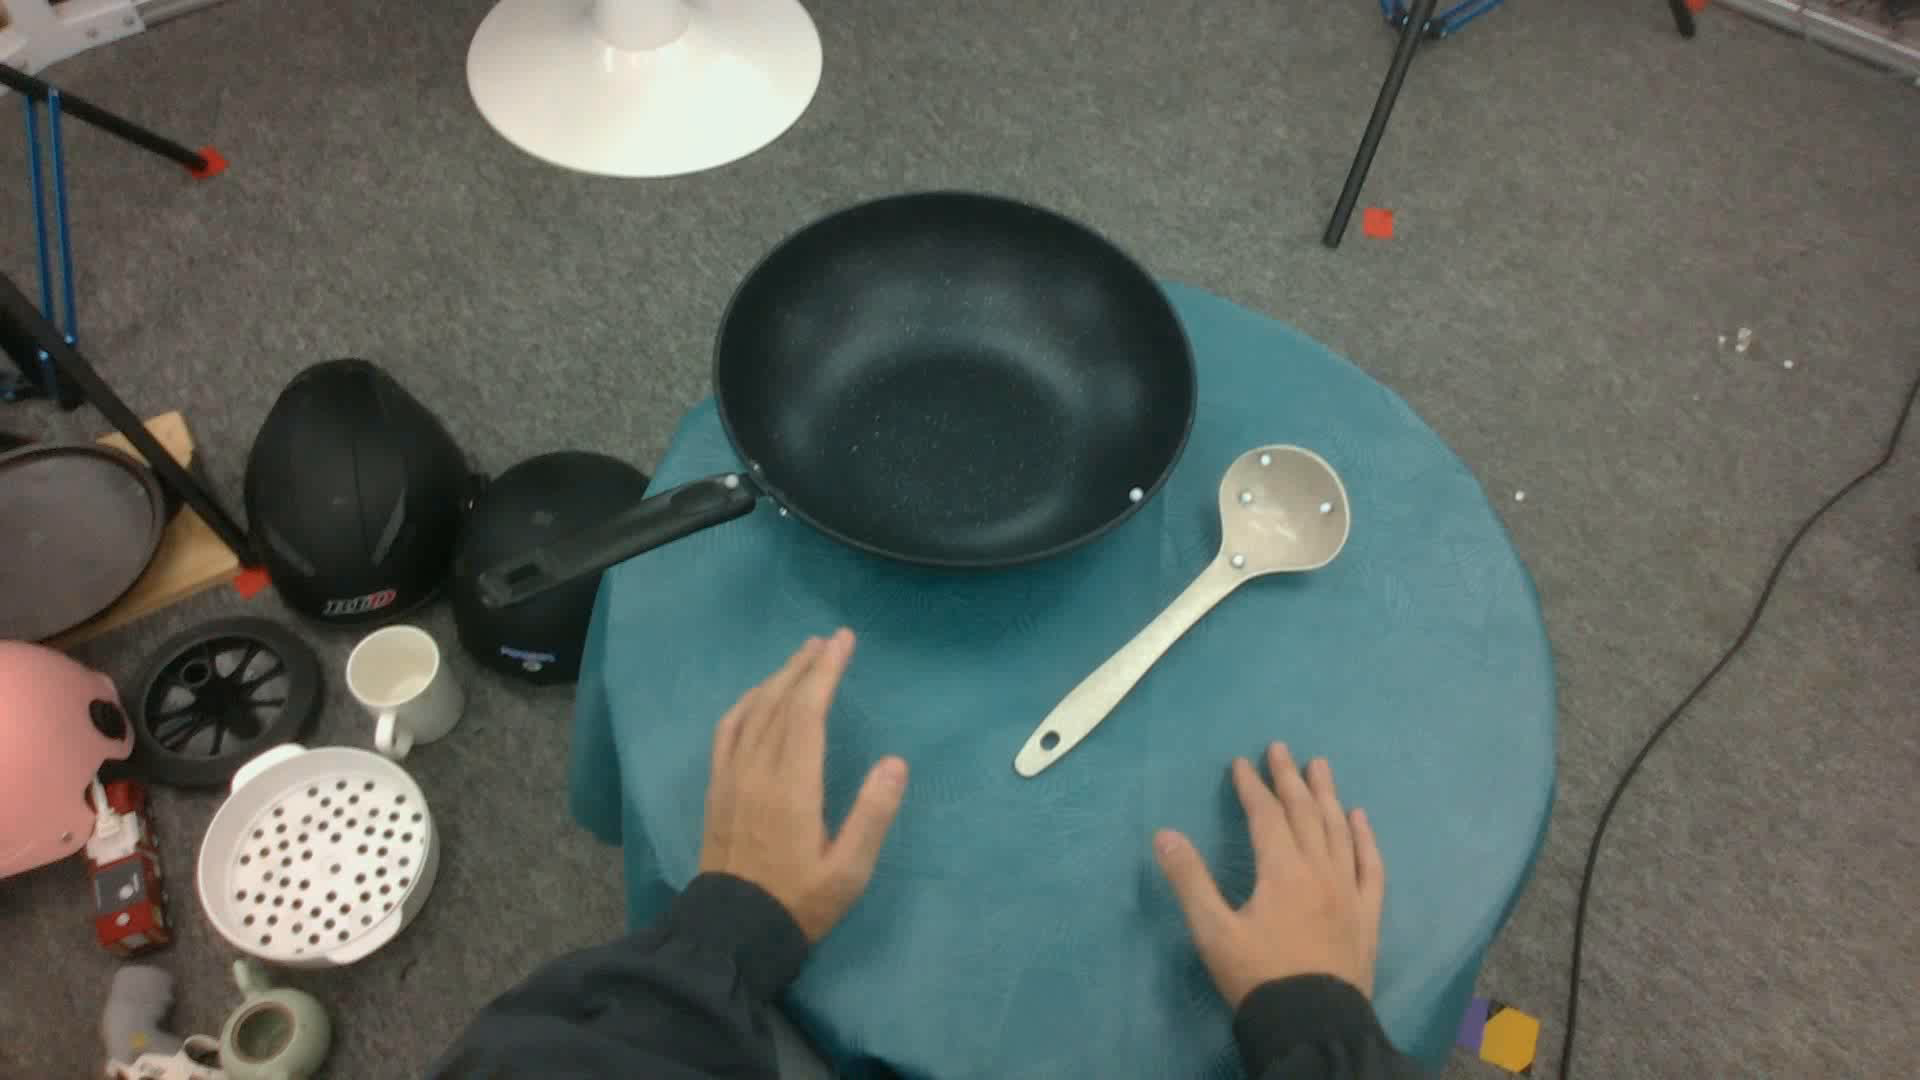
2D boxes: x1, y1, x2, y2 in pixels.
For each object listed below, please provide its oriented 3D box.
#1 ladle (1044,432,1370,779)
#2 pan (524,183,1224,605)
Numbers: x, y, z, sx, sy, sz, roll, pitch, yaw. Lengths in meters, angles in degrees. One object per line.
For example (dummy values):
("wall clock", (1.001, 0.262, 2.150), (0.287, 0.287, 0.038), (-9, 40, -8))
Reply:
("ladle", (0.149, 0.040, 0.849), (0.089, 0.069, 0.276), (41, 66, 13))
("pan", (-0.051, -0.065, 0.884), (0.478, 0.111, 0.310), (-33, 63, -21))
